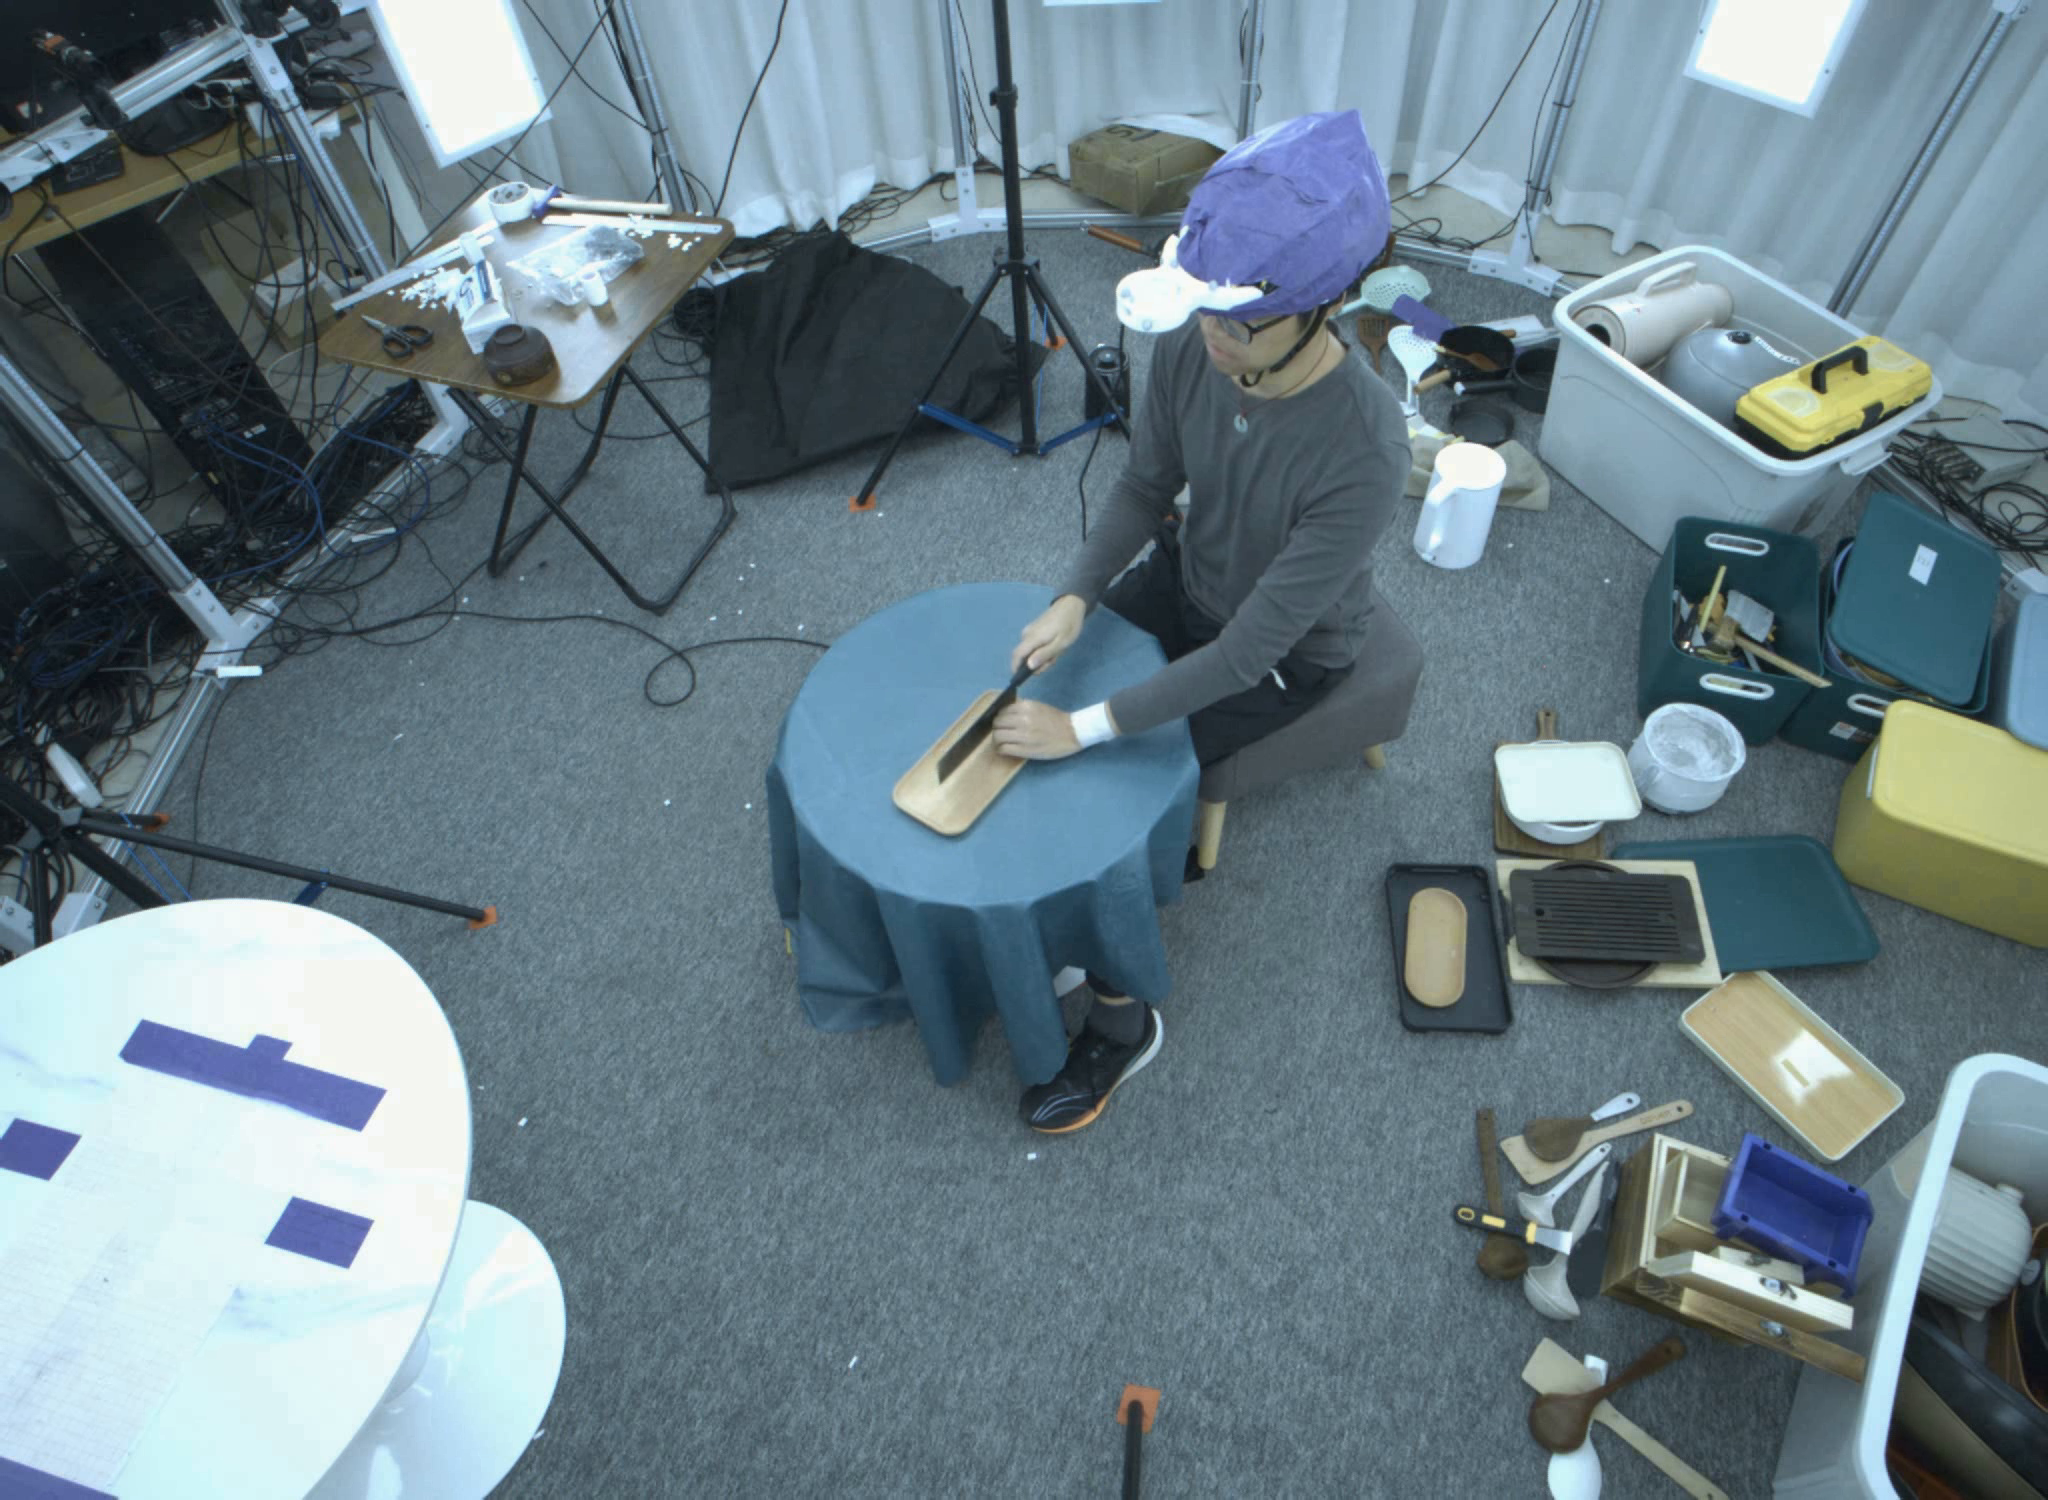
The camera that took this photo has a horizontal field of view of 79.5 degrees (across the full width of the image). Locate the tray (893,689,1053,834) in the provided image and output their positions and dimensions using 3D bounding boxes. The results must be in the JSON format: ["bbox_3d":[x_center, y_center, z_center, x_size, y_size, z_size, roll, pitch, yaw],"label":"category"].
[{"bbox_3d":[-0.071,0.014,1.777,0.128,0.023,0.252,32,60,19],"label":"tray"}]

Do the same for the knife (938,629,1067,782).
[{"bbox_3d":[-0.031,-0.070,1.774,0.020,0.081,0.303,32,65,17],"label":"knife"}]
